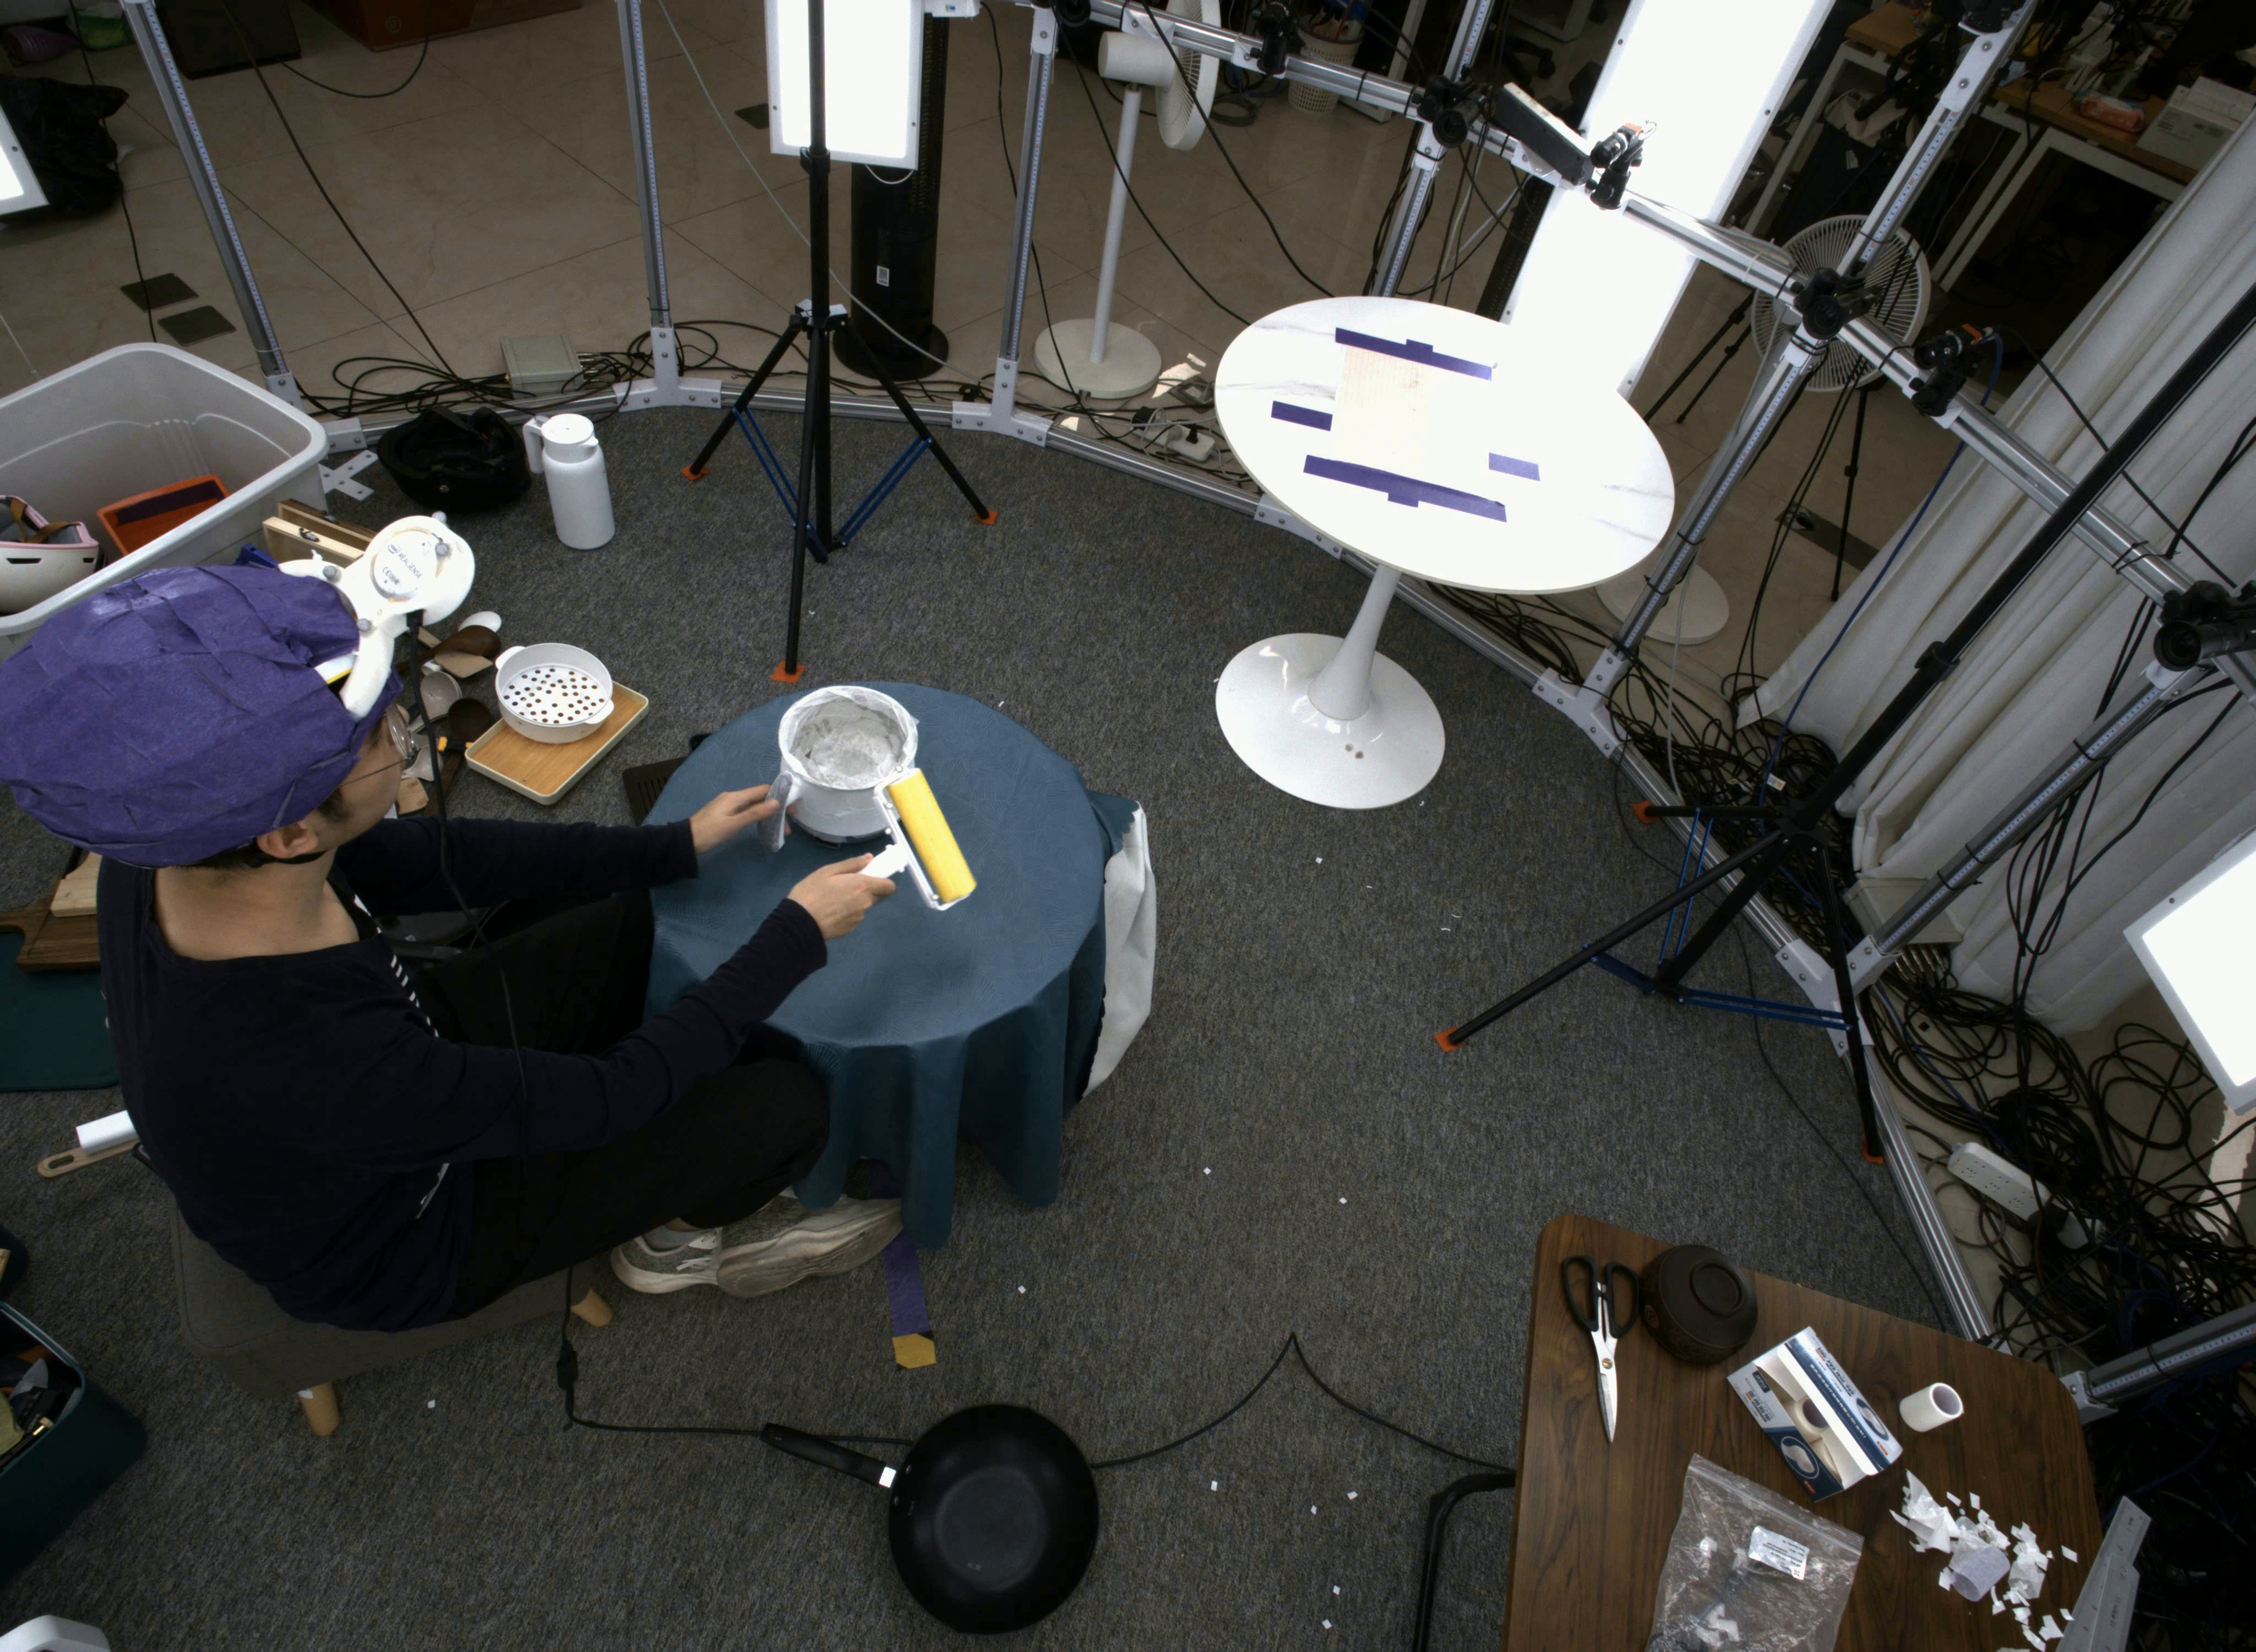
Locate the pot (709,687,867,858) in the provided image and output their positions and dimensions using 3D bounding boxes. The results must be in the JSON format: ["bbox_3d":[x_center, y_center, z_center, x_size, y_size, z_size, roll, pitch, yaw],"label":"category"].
[{"bbox_3d":[-0.448,-0.058,1.680,0.175,0.139,0.233,34,52,15],"label":"pot"}]

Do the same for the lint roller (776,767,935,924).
[{"bbox_3d":[-0.331,0.049,1.514,0.192,0.050,0.179,-47,116,-43],"label":"lint roller"}]
